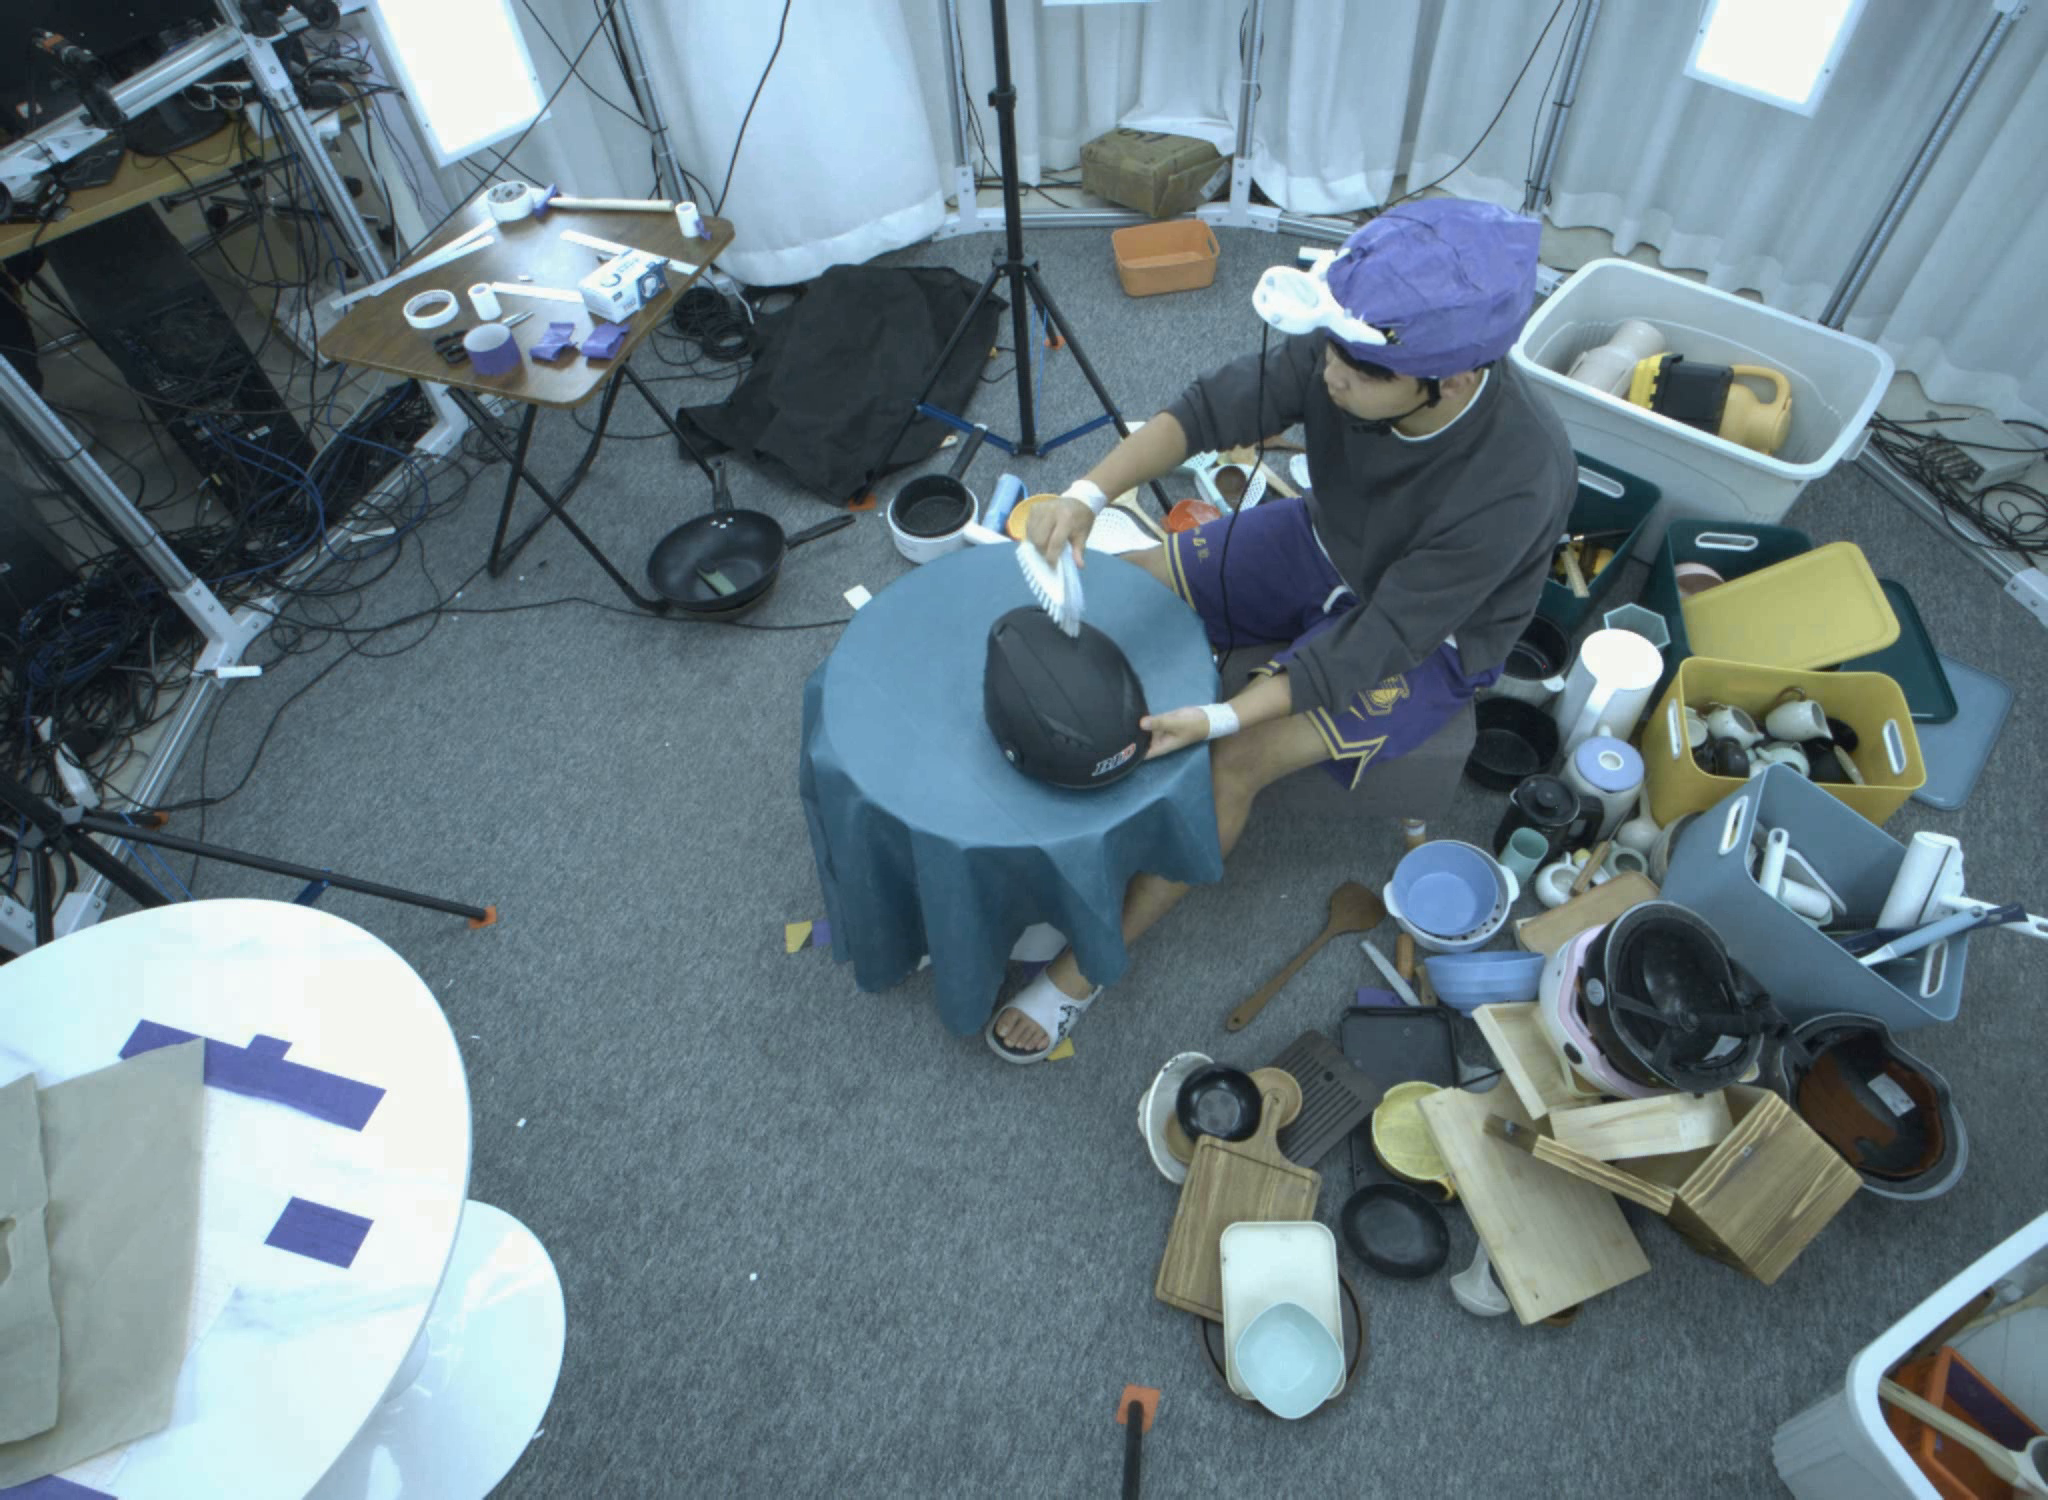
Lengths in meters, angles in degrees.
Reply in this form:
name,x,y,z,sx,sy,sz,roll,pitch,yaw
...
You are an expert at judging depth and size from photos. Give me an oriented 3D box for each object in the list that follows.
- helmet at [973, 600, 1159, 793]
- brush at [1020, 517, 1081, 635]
name,x,y,z,sx,sy,sz,roll,pitch,yaw
helmet,0.054,-0.085,1.751,0.248,0.174,0.271,-28,54,-16
brush,0.047,-0.252,1.717,0.062,0.094,0.173,-12,60,-17
